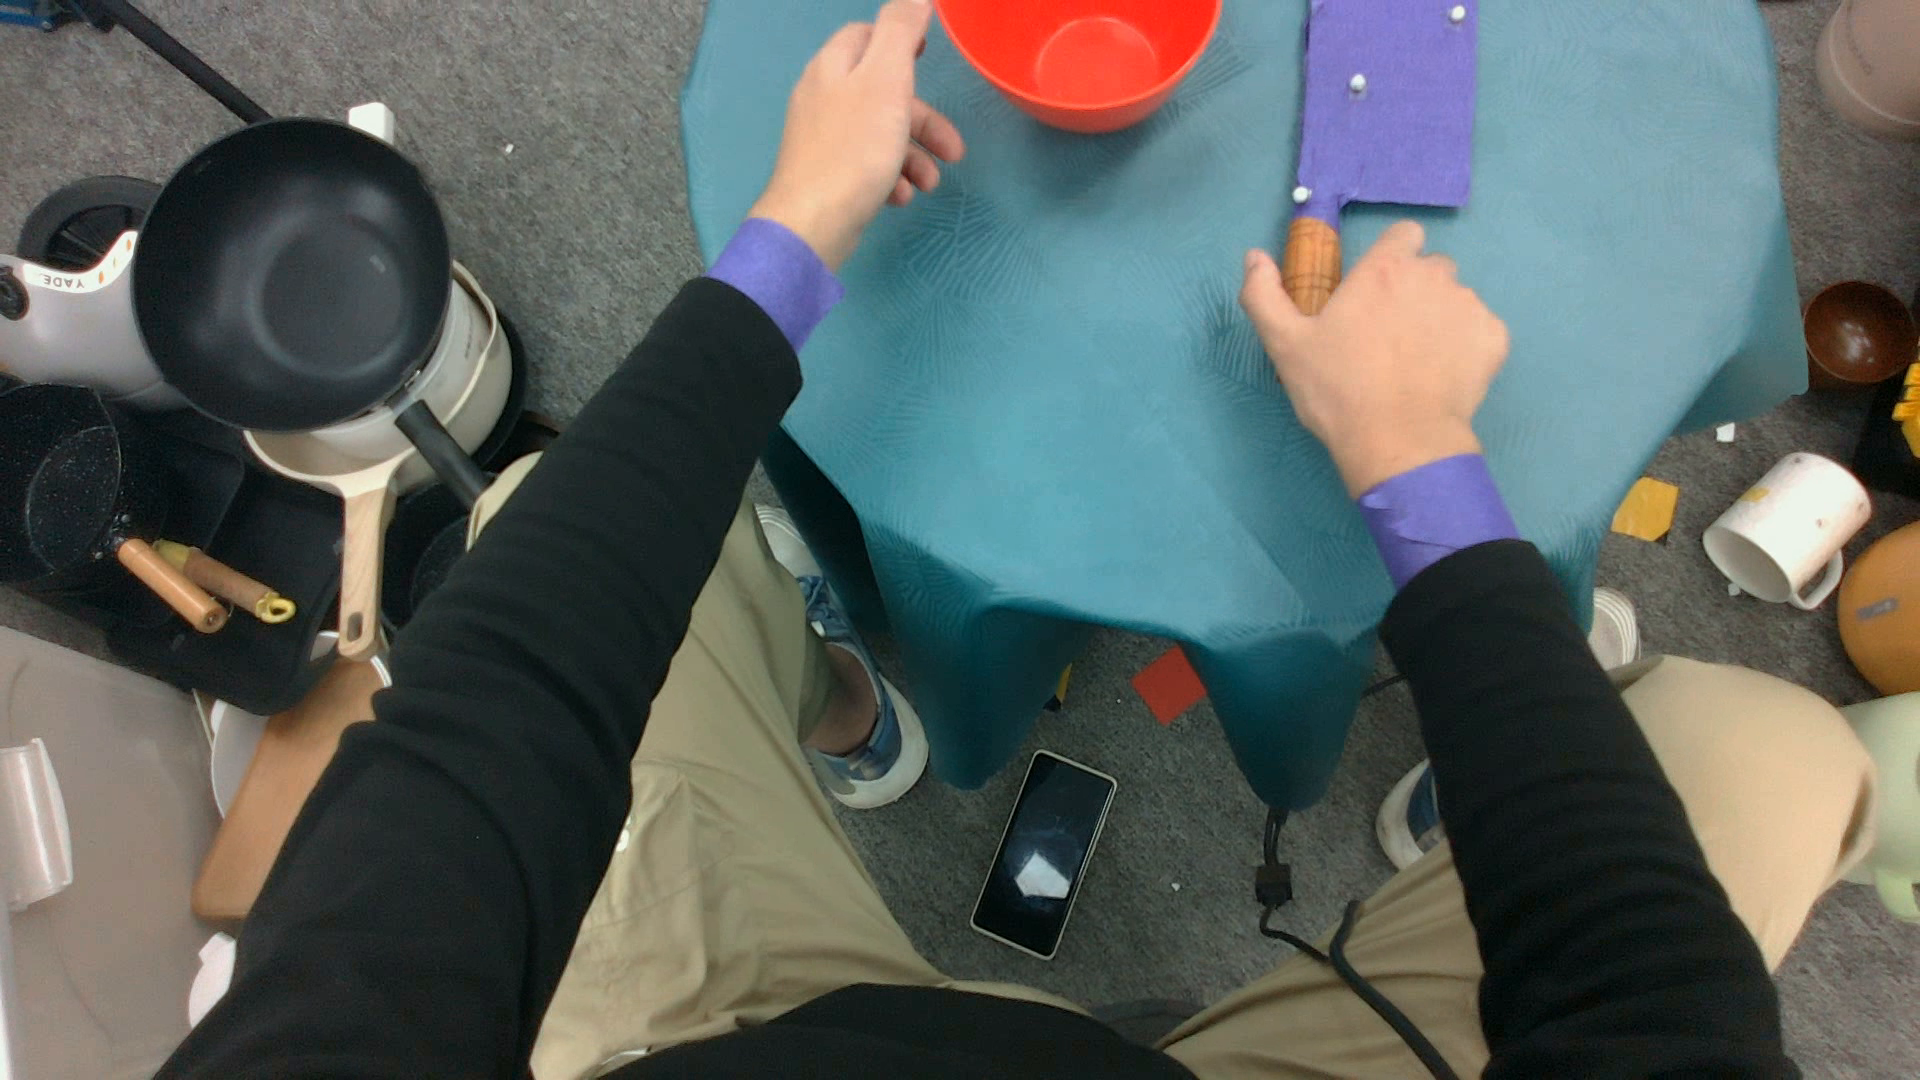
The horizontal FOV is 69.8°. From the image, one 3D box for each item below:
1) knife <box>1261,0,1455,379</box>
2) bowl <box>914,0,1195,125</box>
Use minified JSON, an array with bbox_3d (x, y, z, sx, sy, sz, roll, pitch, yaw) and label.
[{"bbox_3d":[0.215,-0.238,0.750,0.104,0.032,0.316,4,76,6],"label":"knife"},{"bbox_3d":[0.050,-0.281,0.736,0.148,0.104,0.148,-1,76,3],"label":"bowl"}]
